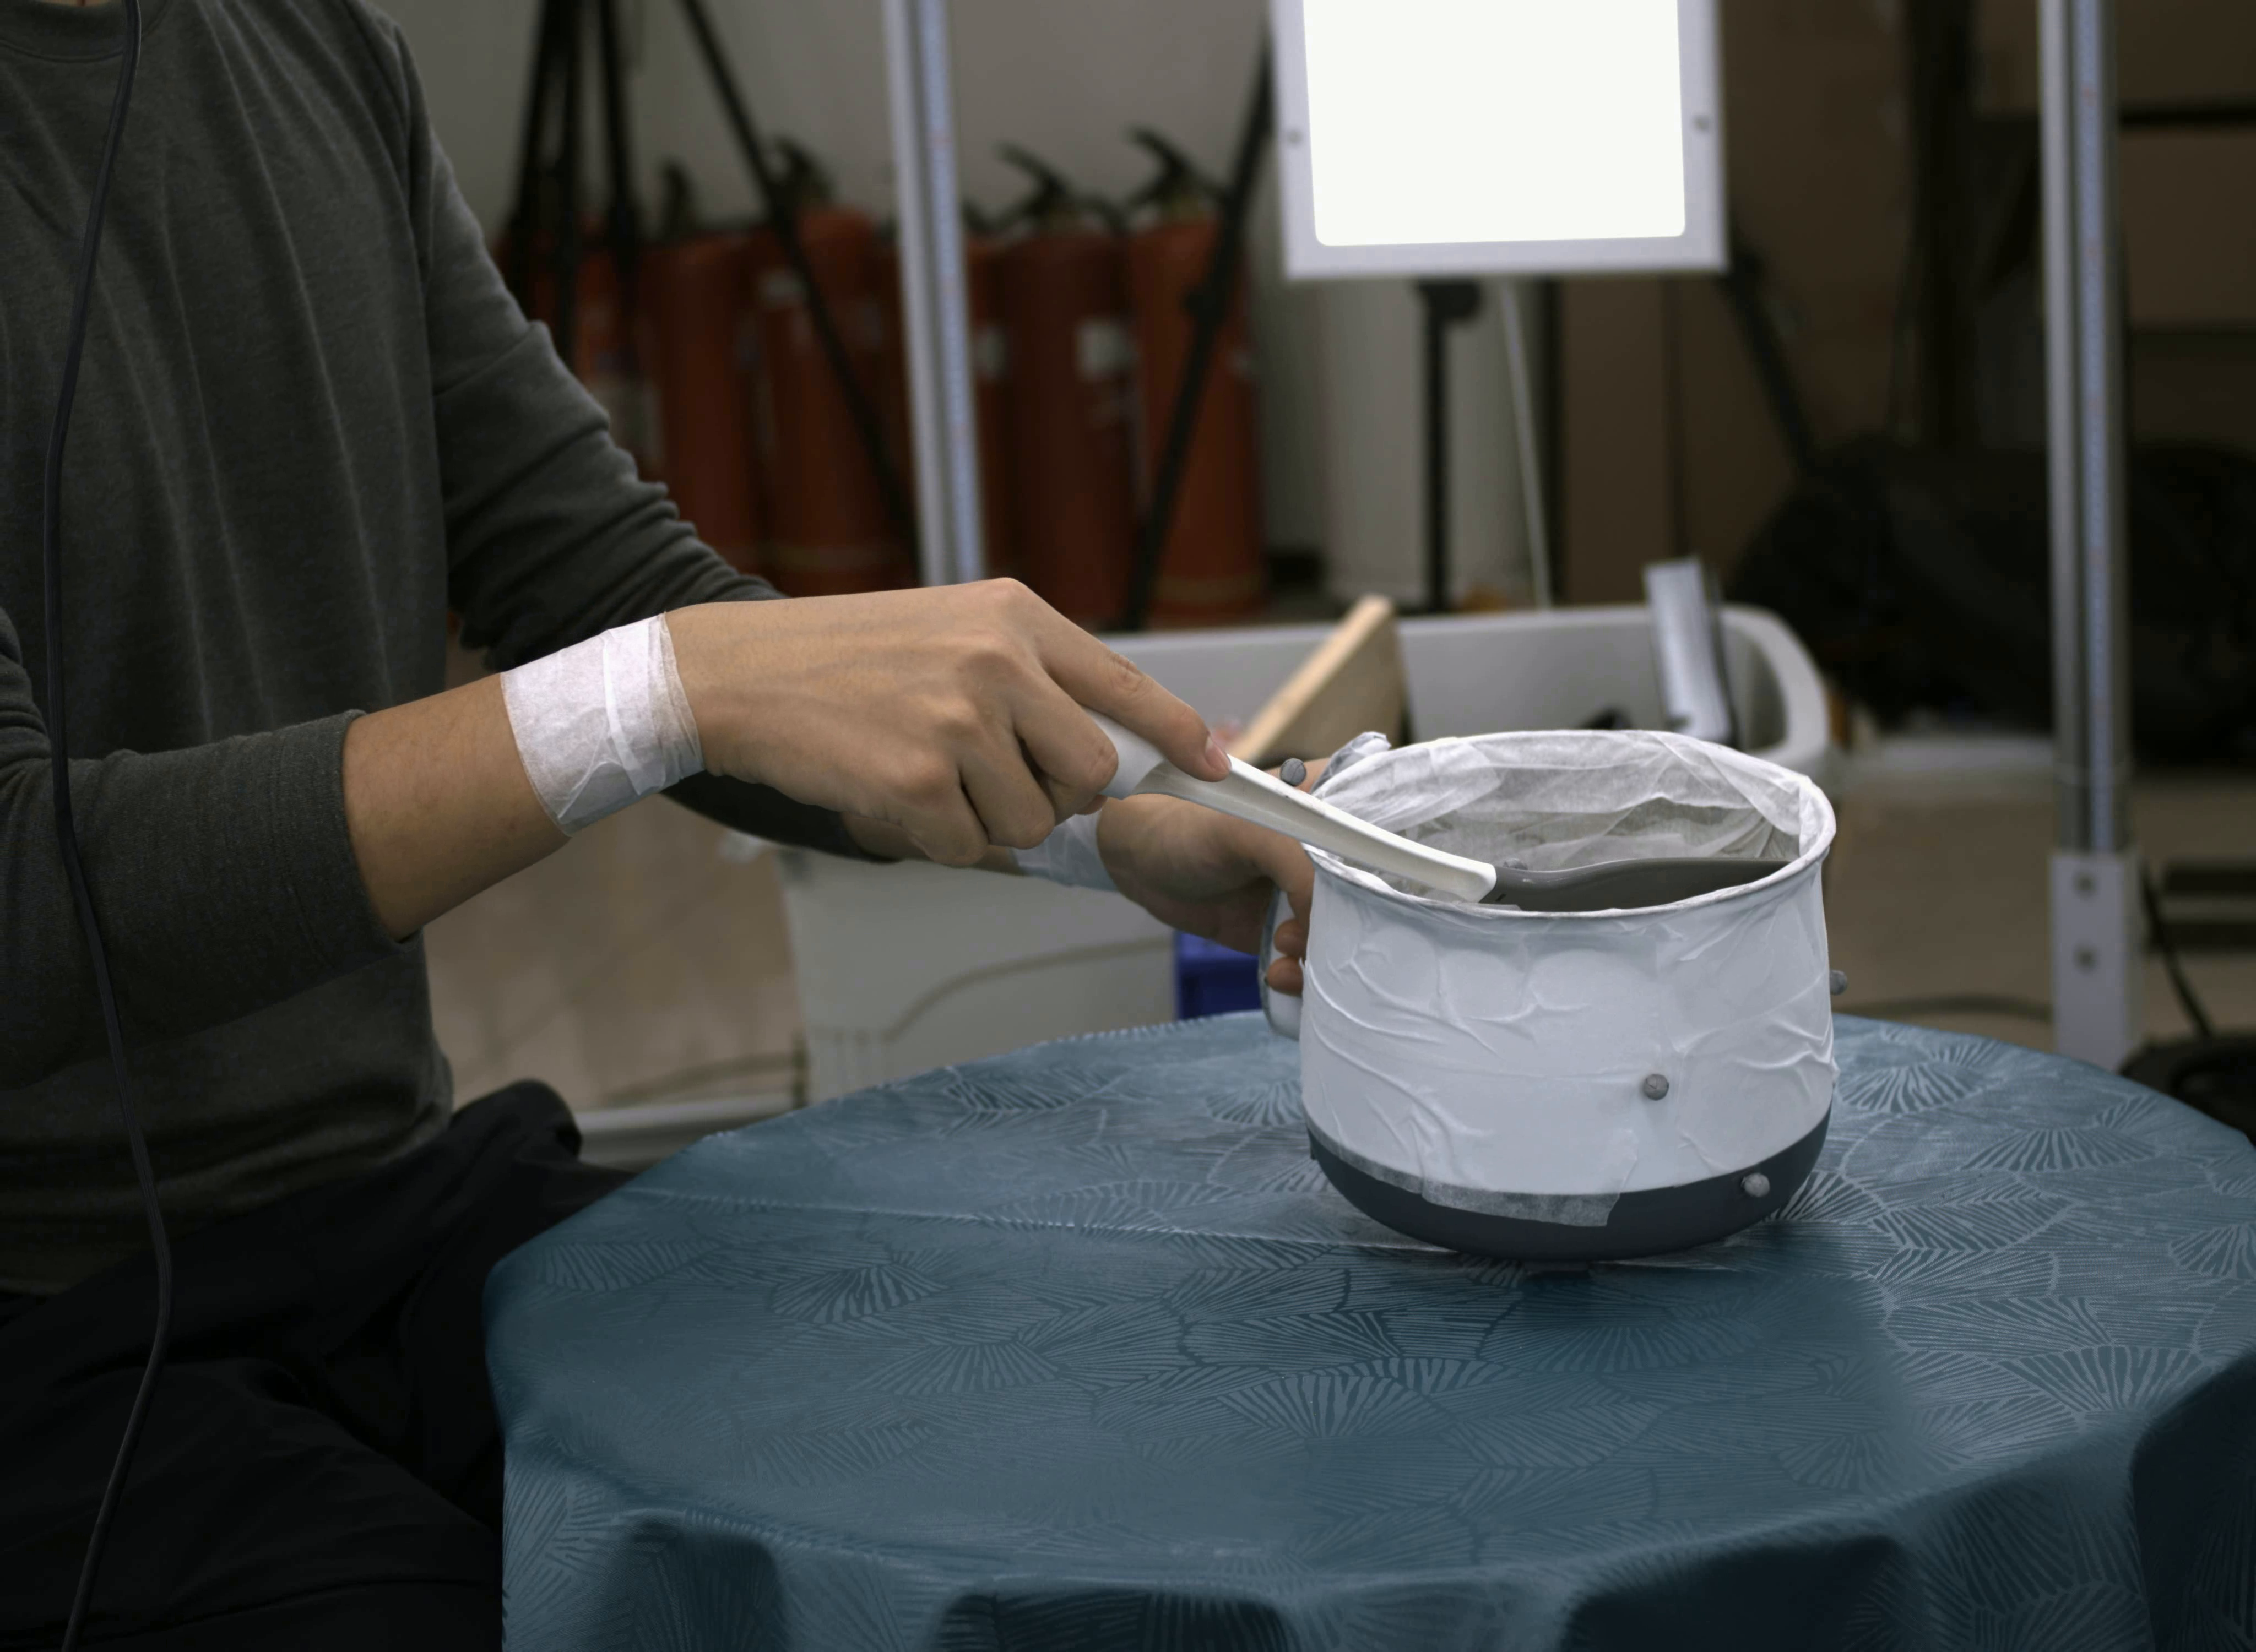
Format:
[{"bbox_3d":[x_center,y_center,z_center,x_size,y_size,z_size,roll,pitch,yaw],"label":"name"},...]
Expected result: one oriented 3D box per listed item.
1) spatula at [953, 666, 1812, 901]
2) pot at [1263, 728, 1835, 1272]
[{"bbox_3d":[0.082,-0.002,1.726,0.283,0.032,0.060,14,-36,-19],"label":"spatula"},{"bbox_3d":[0.128,0.050,1.840,0.174,0.137,0.238,-17,24,-35],"label":"pot"}]
